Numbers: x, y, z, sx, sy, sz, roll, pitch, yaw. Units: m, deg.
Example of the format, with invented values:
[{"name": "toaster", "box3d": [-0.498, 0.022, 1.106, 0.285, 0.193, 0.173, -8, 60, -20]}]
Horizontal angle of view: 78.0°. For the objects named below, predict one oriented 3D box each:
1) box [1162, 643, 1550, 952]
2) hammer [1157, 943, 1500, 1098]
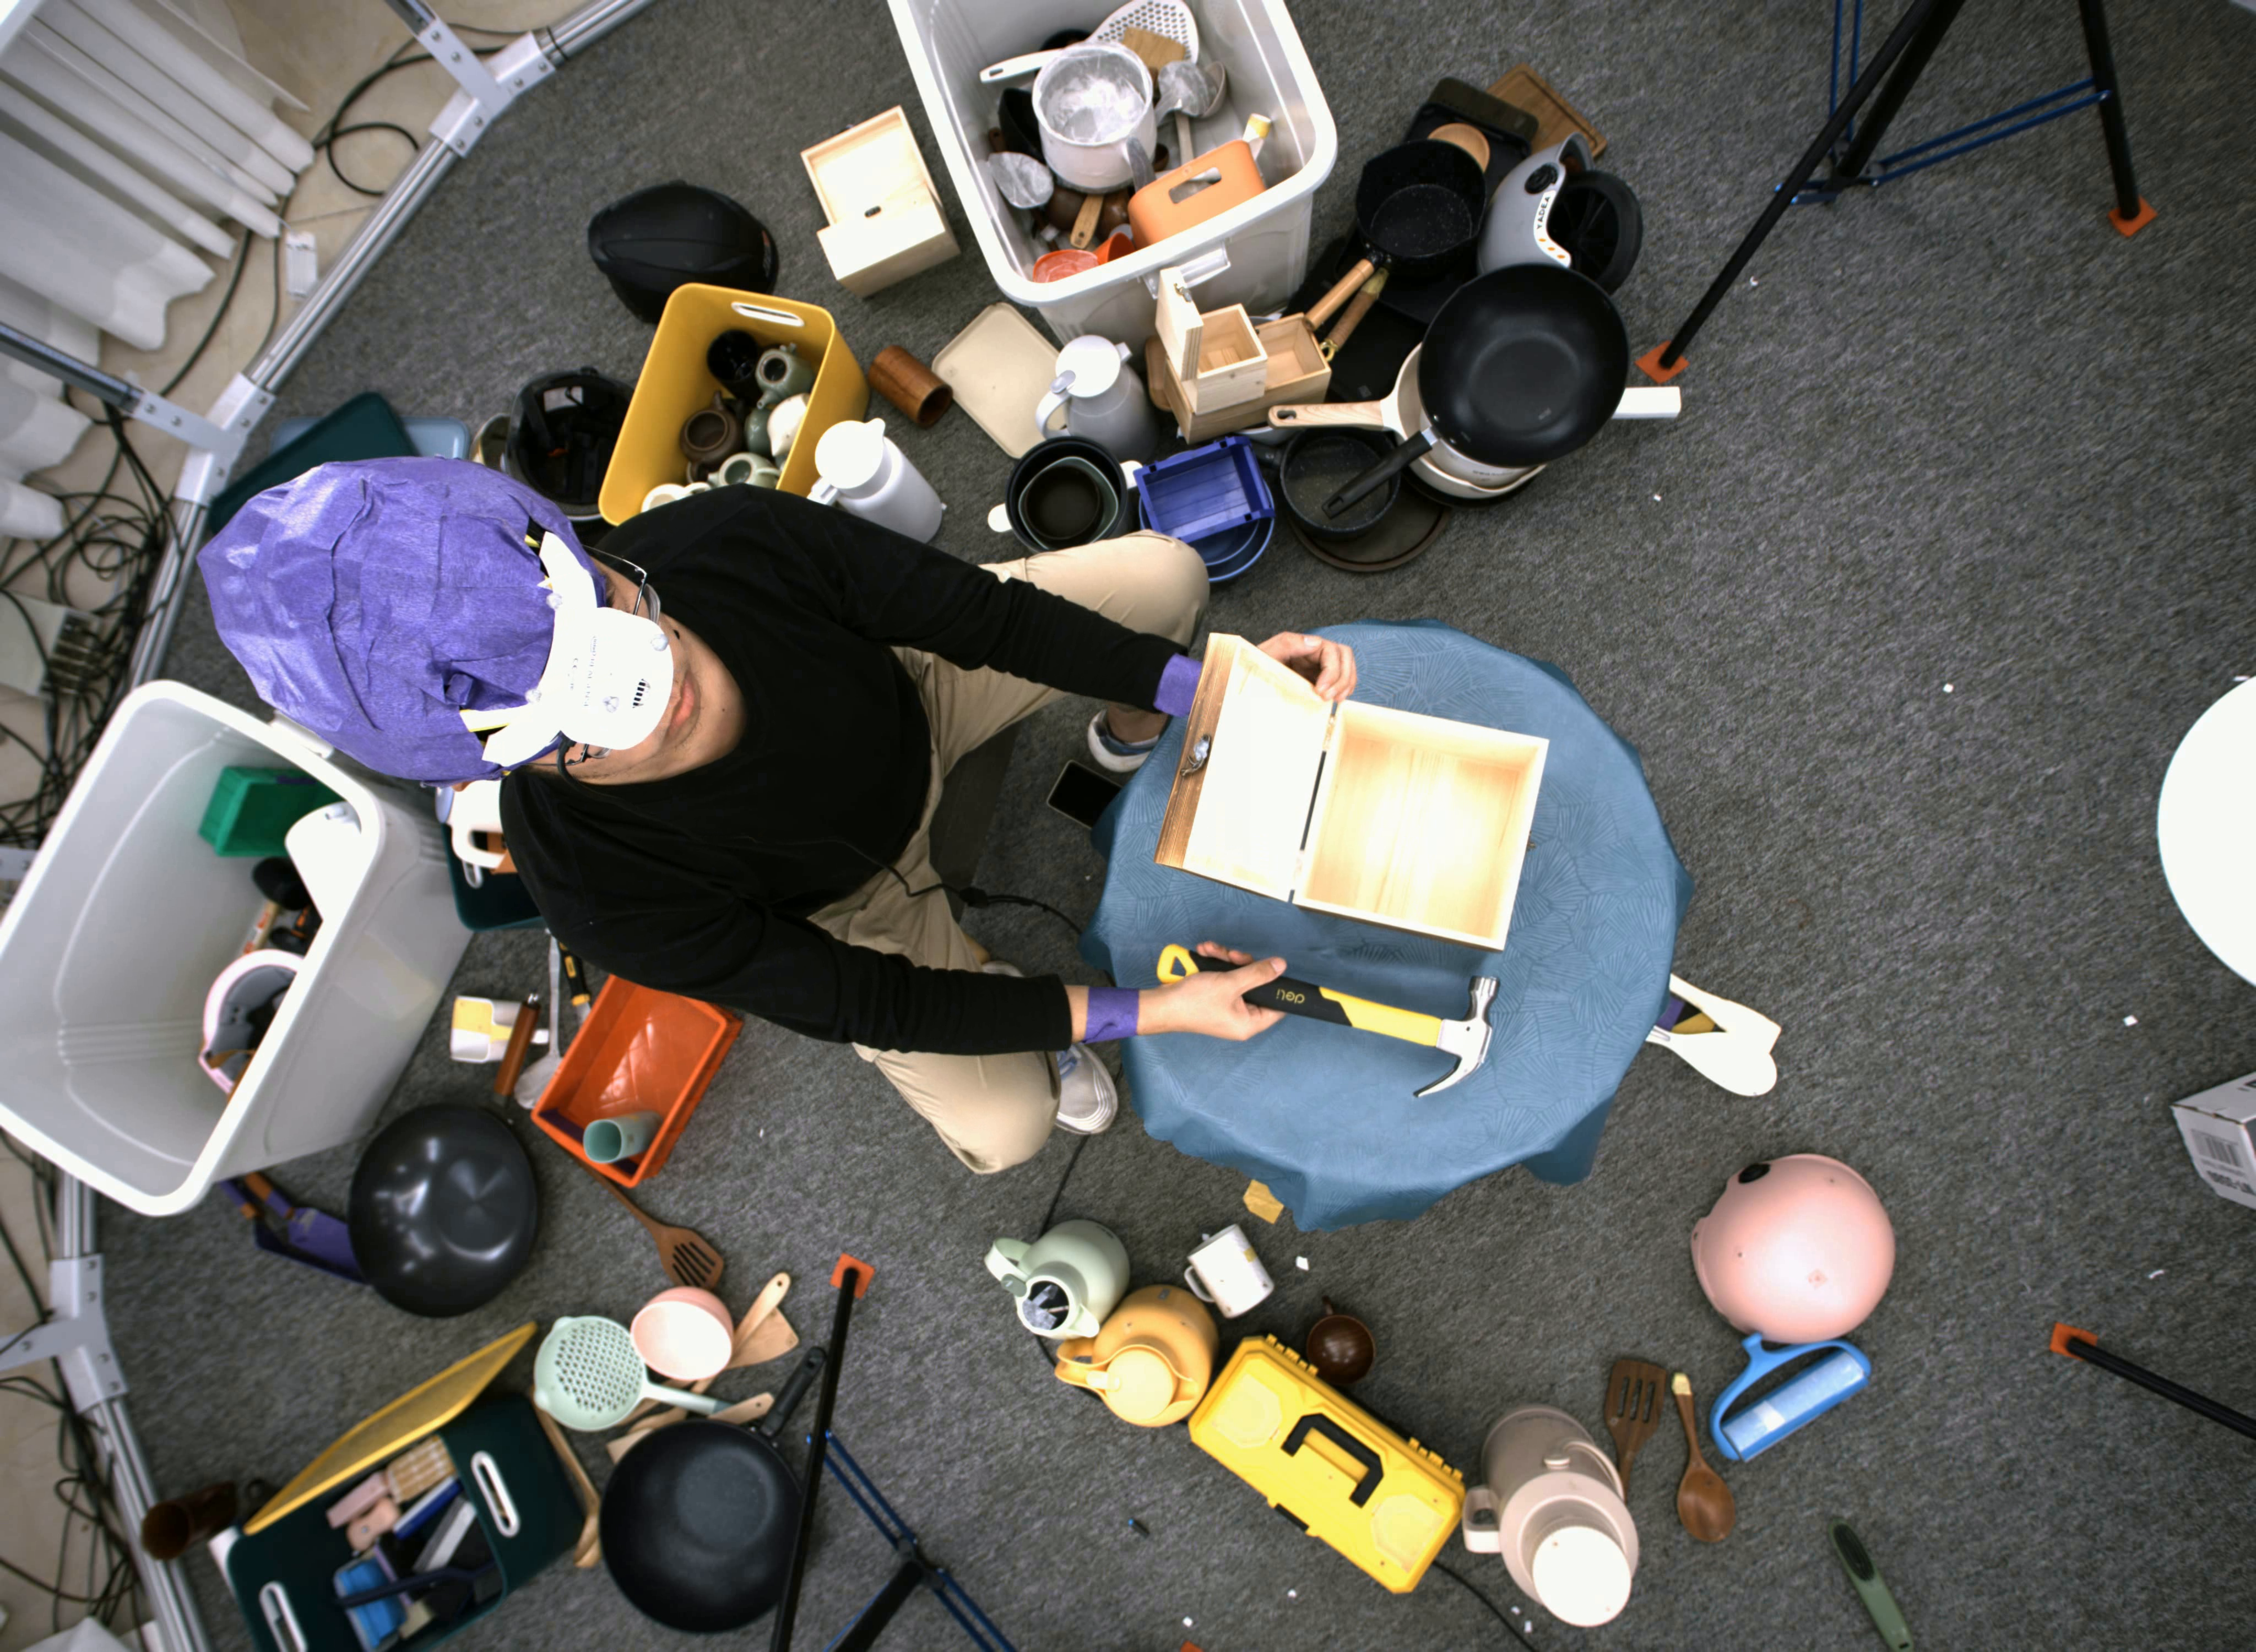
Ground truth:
[{"name": "box", "box3d": [0.222, -0.015, 1.294, 0.322, 0.375, 0.208, 13, 88, 12]}, {"name": "hammer", "box3d": [0.194, 0.177, 1.392, 0.339, 0.032, 0.131, 15, 87, 6]}]
